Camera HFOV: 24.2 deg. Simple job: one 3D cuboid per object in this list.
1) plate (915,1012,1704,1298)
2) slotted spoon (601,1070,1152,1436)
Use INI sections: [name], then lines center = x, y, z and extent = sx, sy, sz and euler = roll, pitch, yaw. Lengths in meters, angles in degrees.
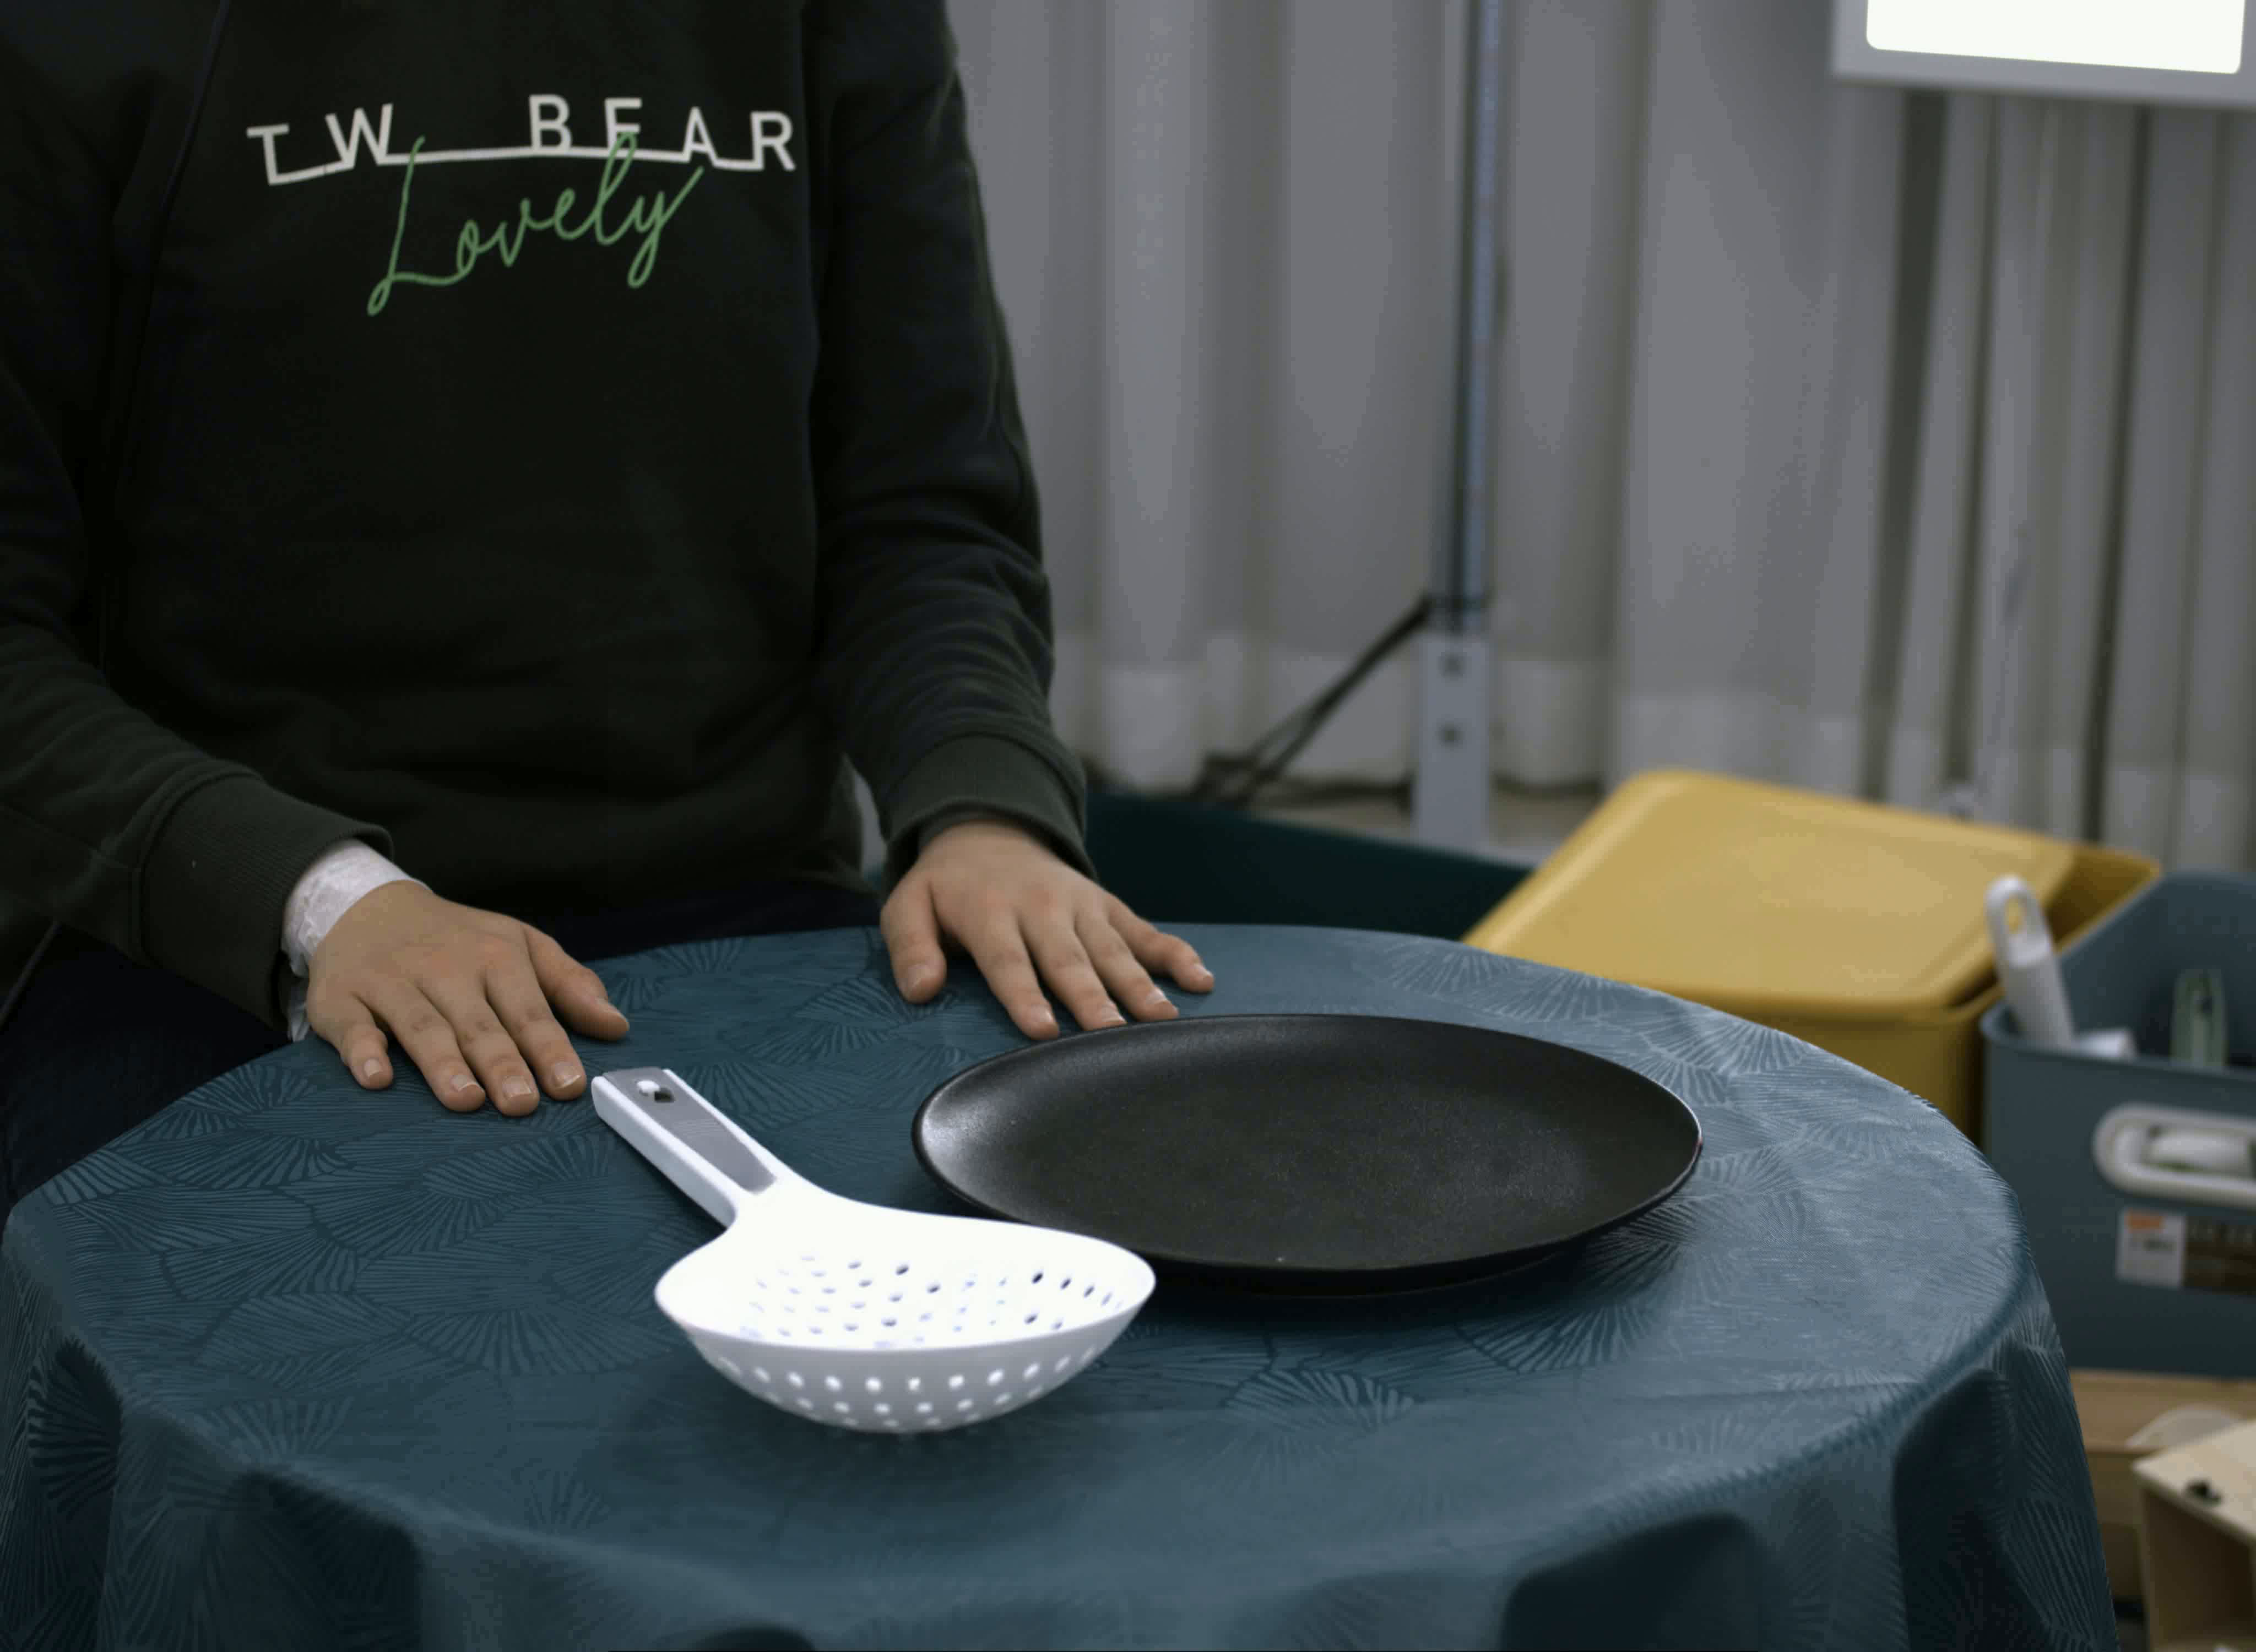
[plate]
center = 0.055, 0.103, 1.619
extent = 0.243, 0.023, 0.243
euler = 0, 16, 0
[slotted spoon]
center = -0.099, 0.114, 1.532
extent = 0.136, 0.046, 0.346
euler = -3, 15, -20
